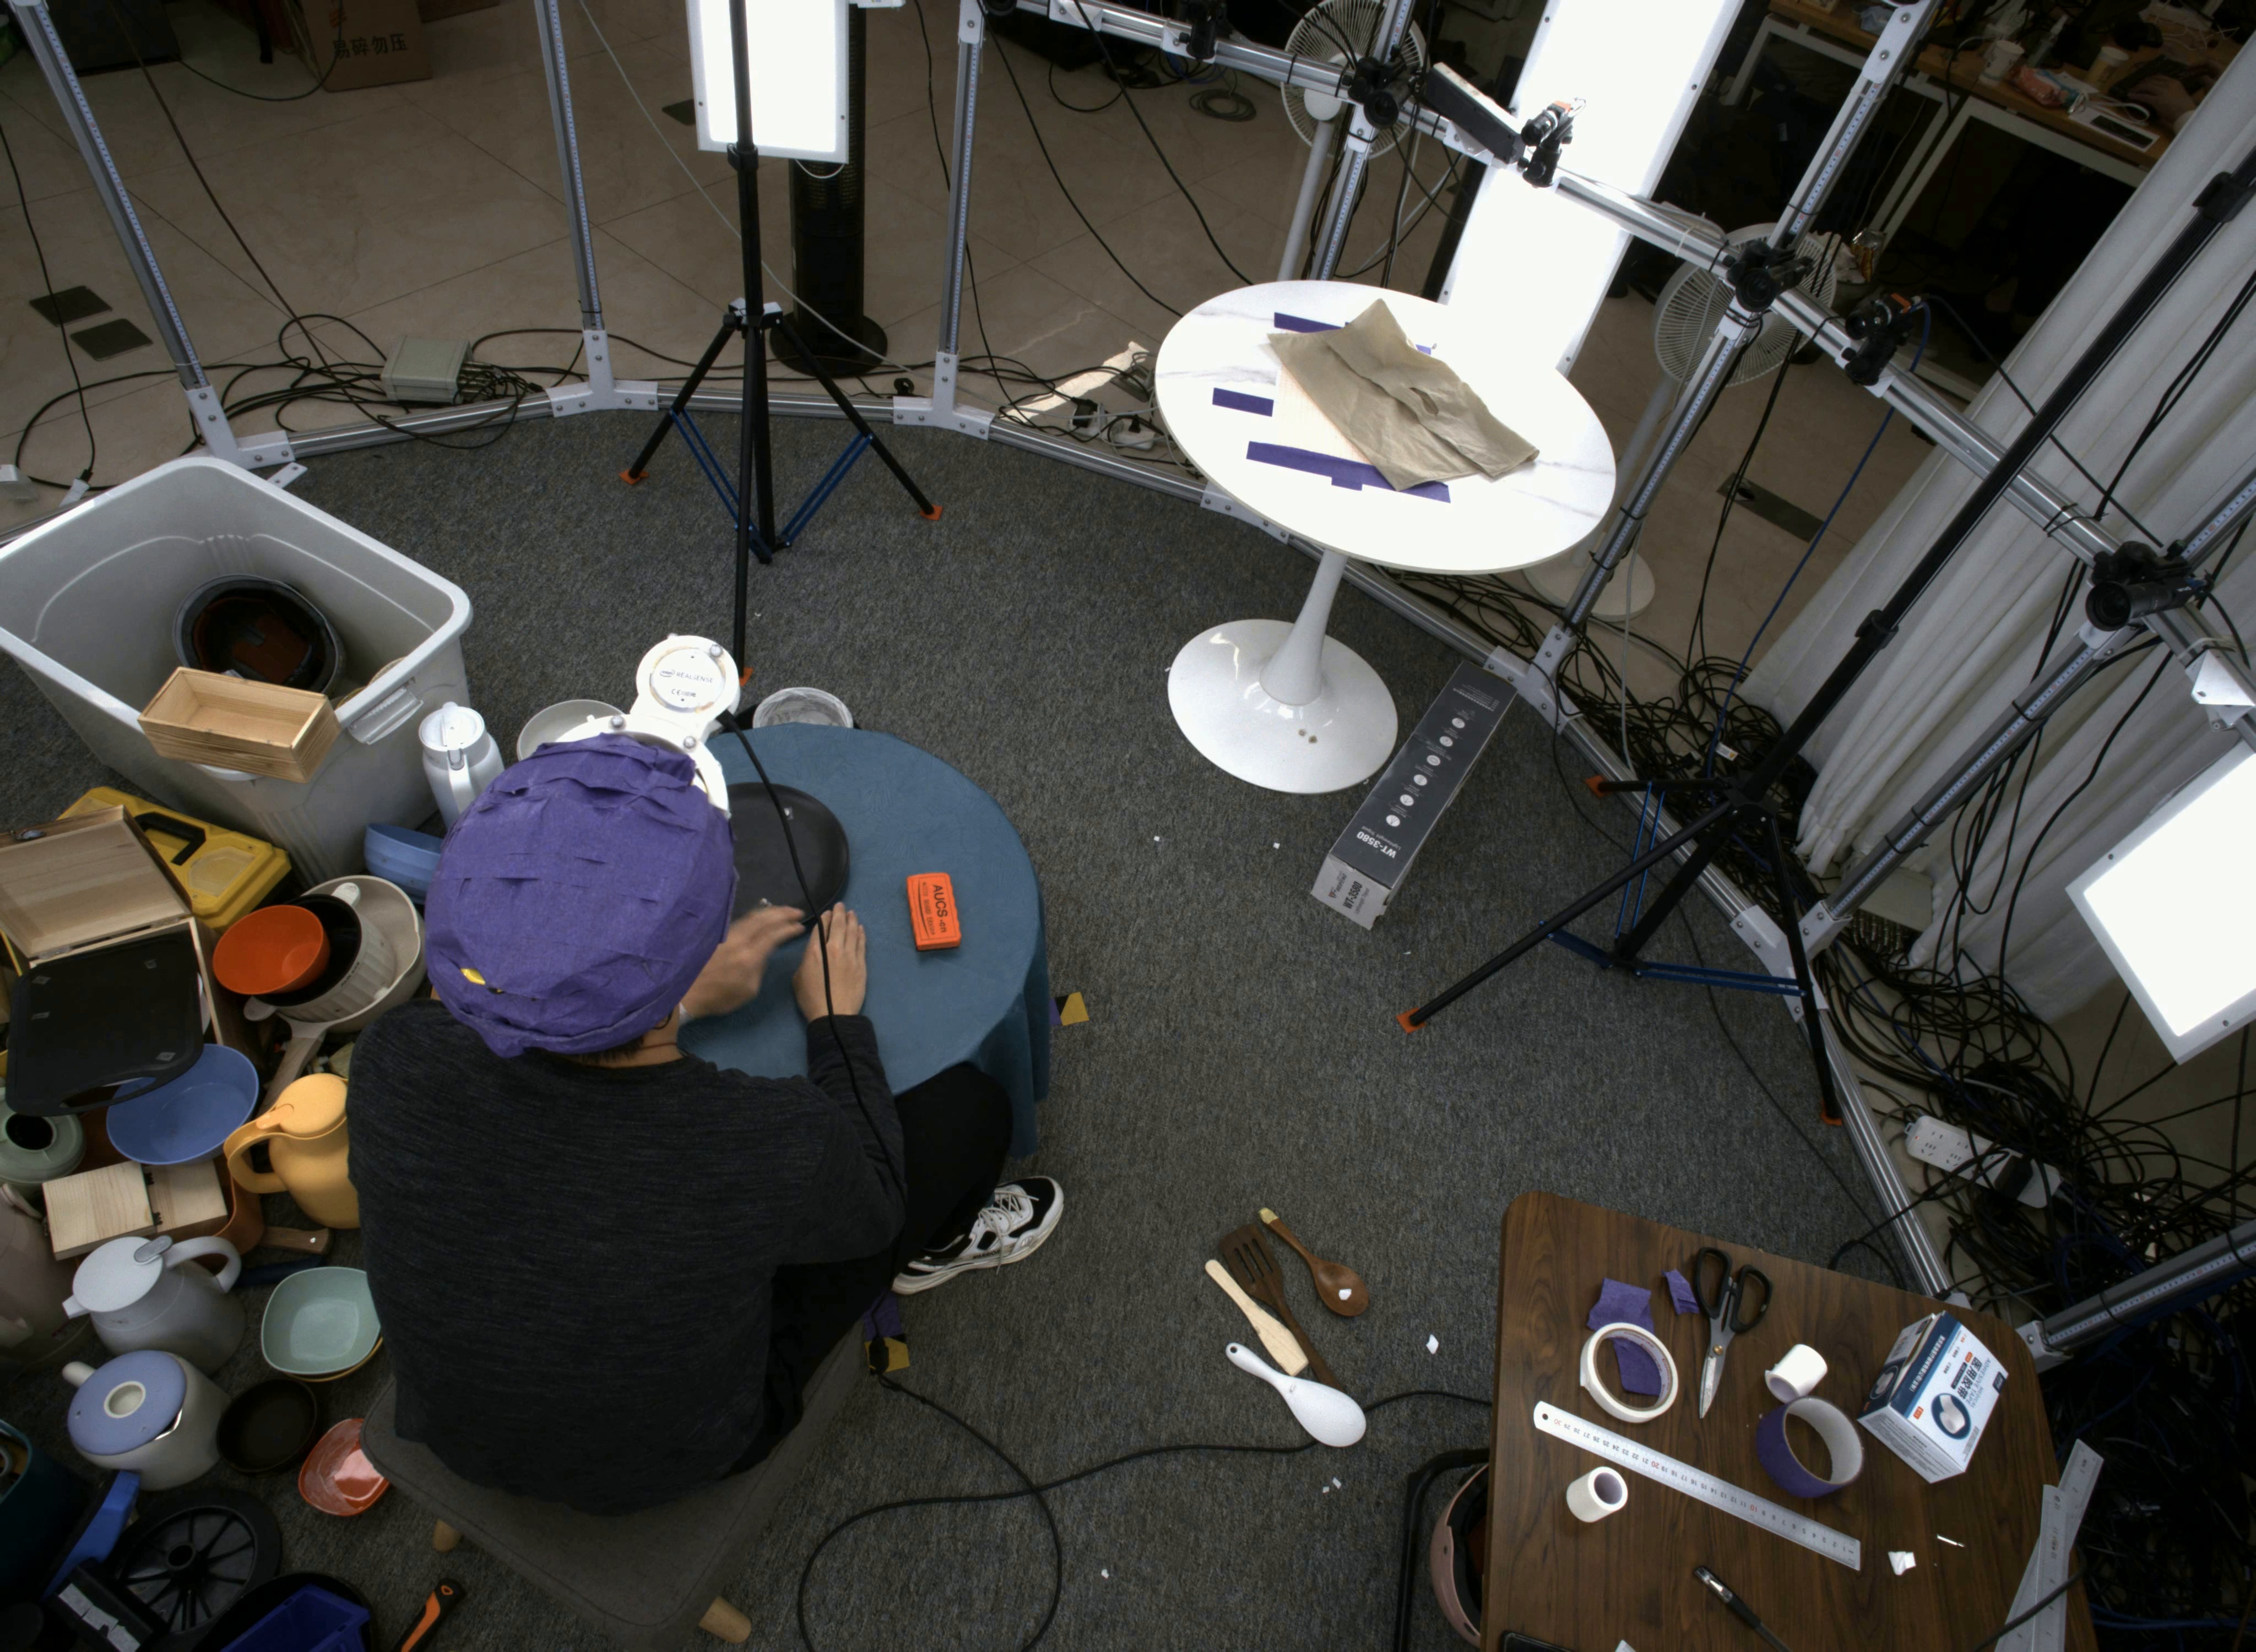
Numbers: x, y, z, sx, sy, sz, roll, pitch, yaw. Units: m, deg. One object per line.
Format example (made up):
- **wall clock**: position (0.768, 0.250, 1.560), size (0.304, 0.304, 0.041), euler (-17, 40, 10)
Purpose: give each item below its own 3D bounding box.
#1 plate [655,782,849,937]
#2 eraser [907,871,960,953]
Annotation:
- **plate**: position (-0.480, 0.042, 1.657), size (0.244, 0.024, 0.240), euler (8, 53, -9)
- **eraser**: position (-0.250, 0.108, 1.669), size (0.059, 0.023, 0.105), euler (-5, 55, -15)
